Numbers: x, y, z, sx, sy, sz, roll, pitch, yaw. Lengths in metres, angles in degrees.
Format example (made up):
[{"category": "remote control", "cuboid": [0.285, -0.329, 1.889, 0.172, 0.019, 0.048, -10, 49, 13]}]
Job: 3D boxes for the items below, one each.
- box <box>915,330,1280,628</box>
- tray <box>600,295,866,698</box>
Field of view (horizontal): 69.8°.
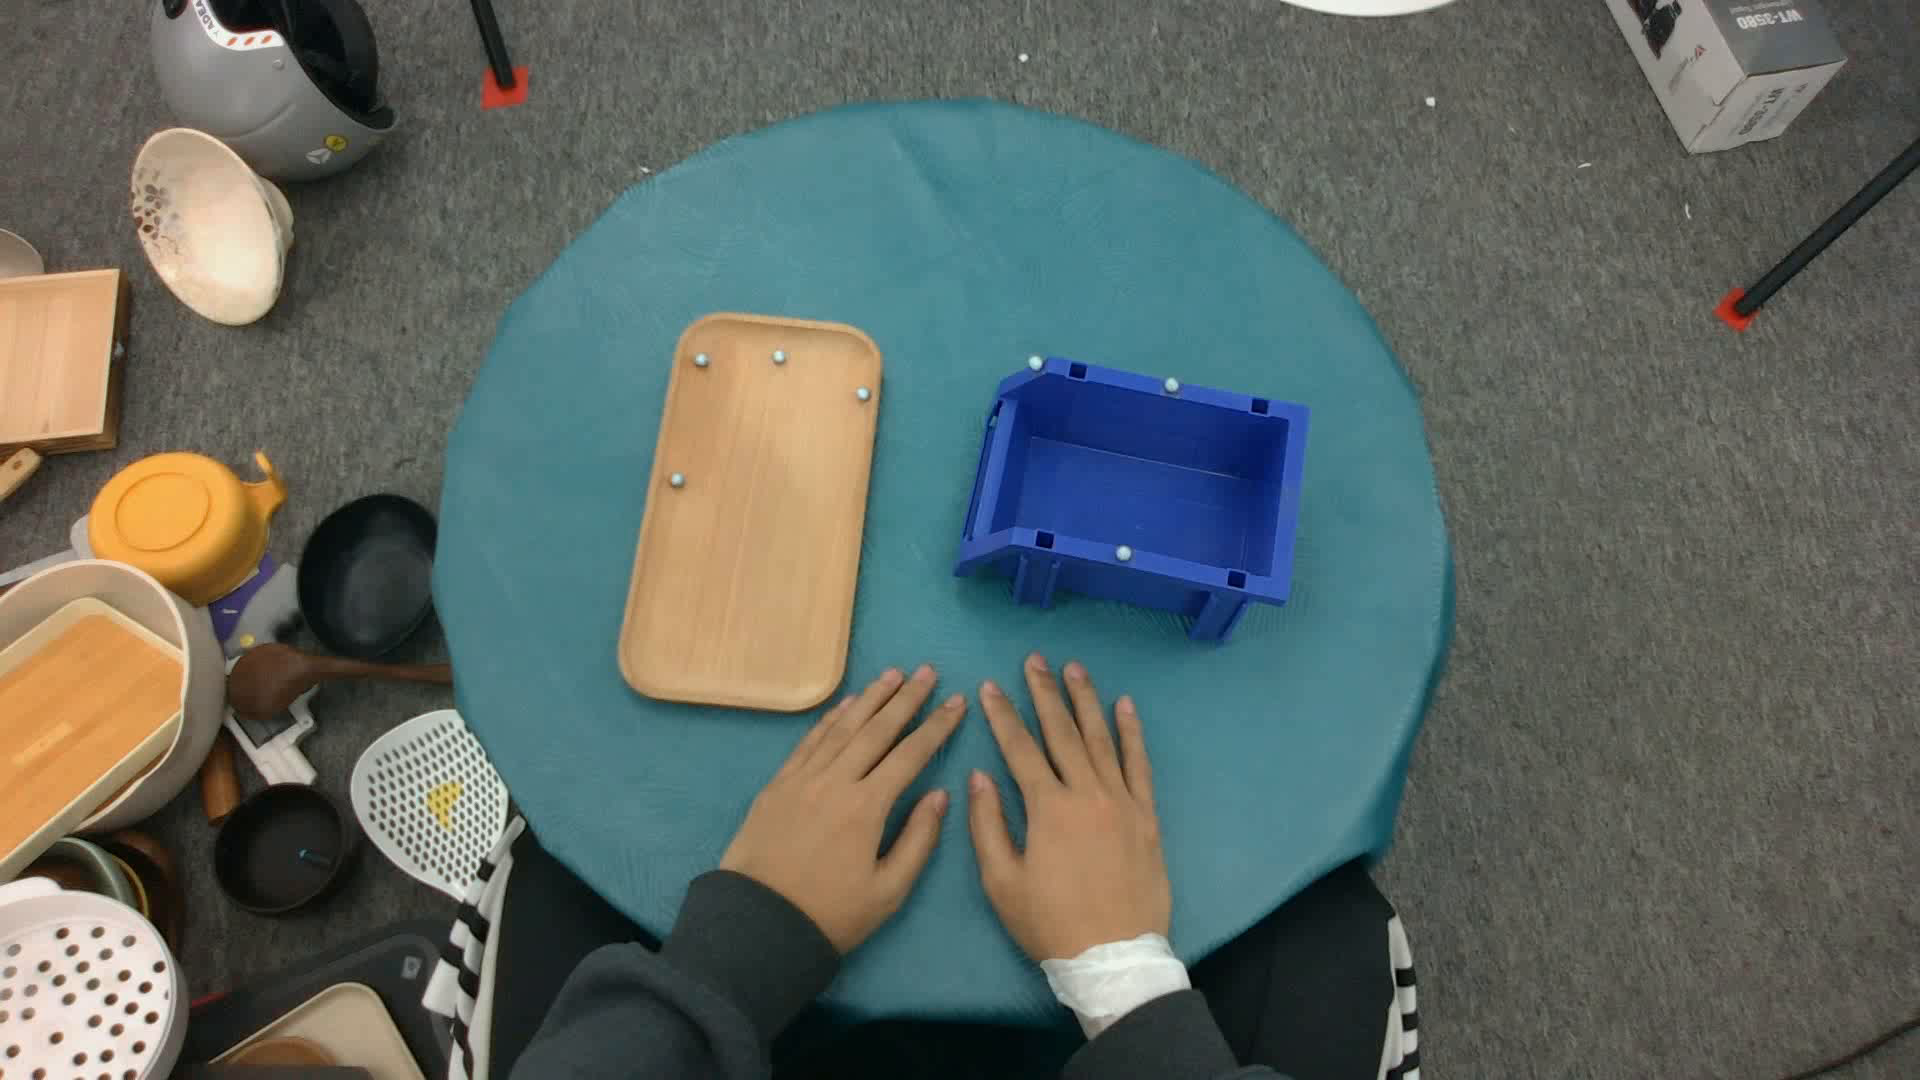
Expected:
[{"category": "box", "cuboid": [0.076, -0.035, 0.786, 0.179, 0.081, 0.125, 15, 67, -1]}, {"category": "tray", "cuboid": [-0.128, -0.031, 0.806, 0.130, 0.023, 0.251, 5, 67, 1]}]
